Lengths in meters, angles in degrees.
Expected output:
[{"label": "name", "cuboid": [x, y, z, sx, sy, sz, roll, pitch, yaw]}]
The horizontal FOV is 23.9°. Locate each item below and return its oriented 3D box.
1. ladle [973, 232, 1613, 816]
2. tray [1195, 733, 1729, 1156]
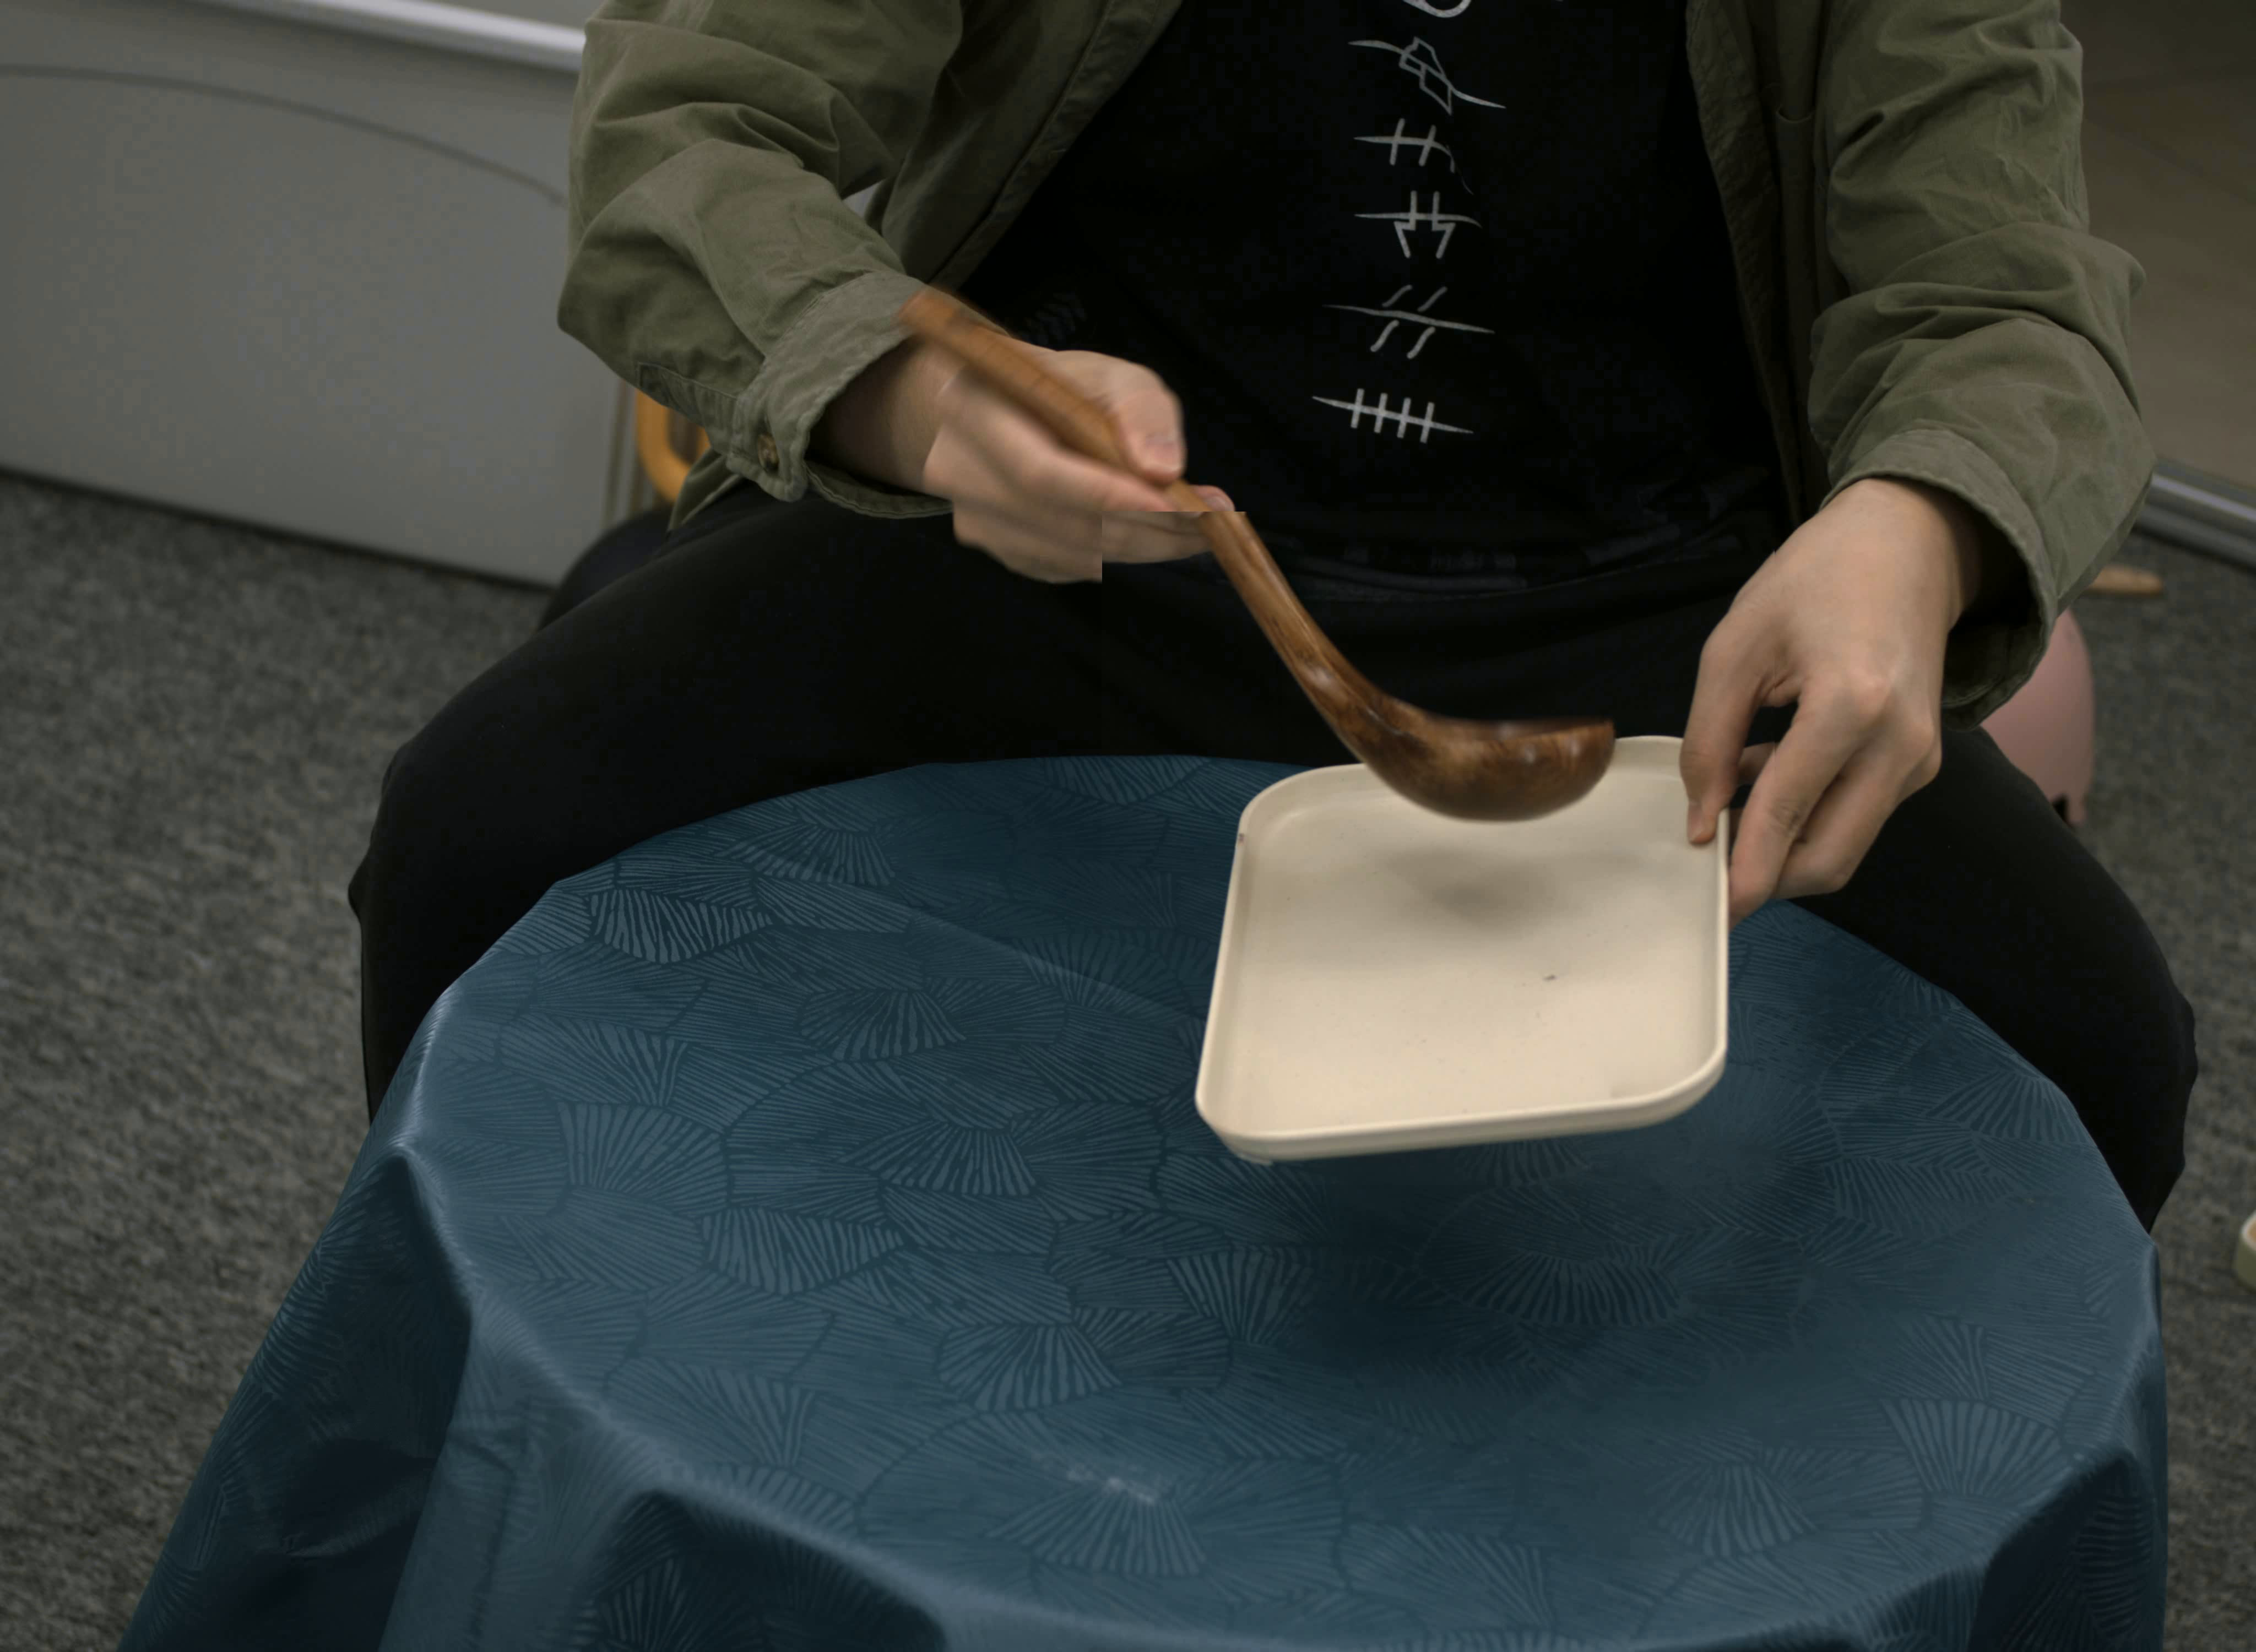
[{"label": "ladle", "cuboid": [0.057, -0.110, 1.774, 0.275, 0.076, 0.081, 53, 7, 10]}, {"label": "tray", "cuboid": [0.113, 0.038, 1.752, 0.171, 0.017, 0.241, -6, 28, 10]}]
